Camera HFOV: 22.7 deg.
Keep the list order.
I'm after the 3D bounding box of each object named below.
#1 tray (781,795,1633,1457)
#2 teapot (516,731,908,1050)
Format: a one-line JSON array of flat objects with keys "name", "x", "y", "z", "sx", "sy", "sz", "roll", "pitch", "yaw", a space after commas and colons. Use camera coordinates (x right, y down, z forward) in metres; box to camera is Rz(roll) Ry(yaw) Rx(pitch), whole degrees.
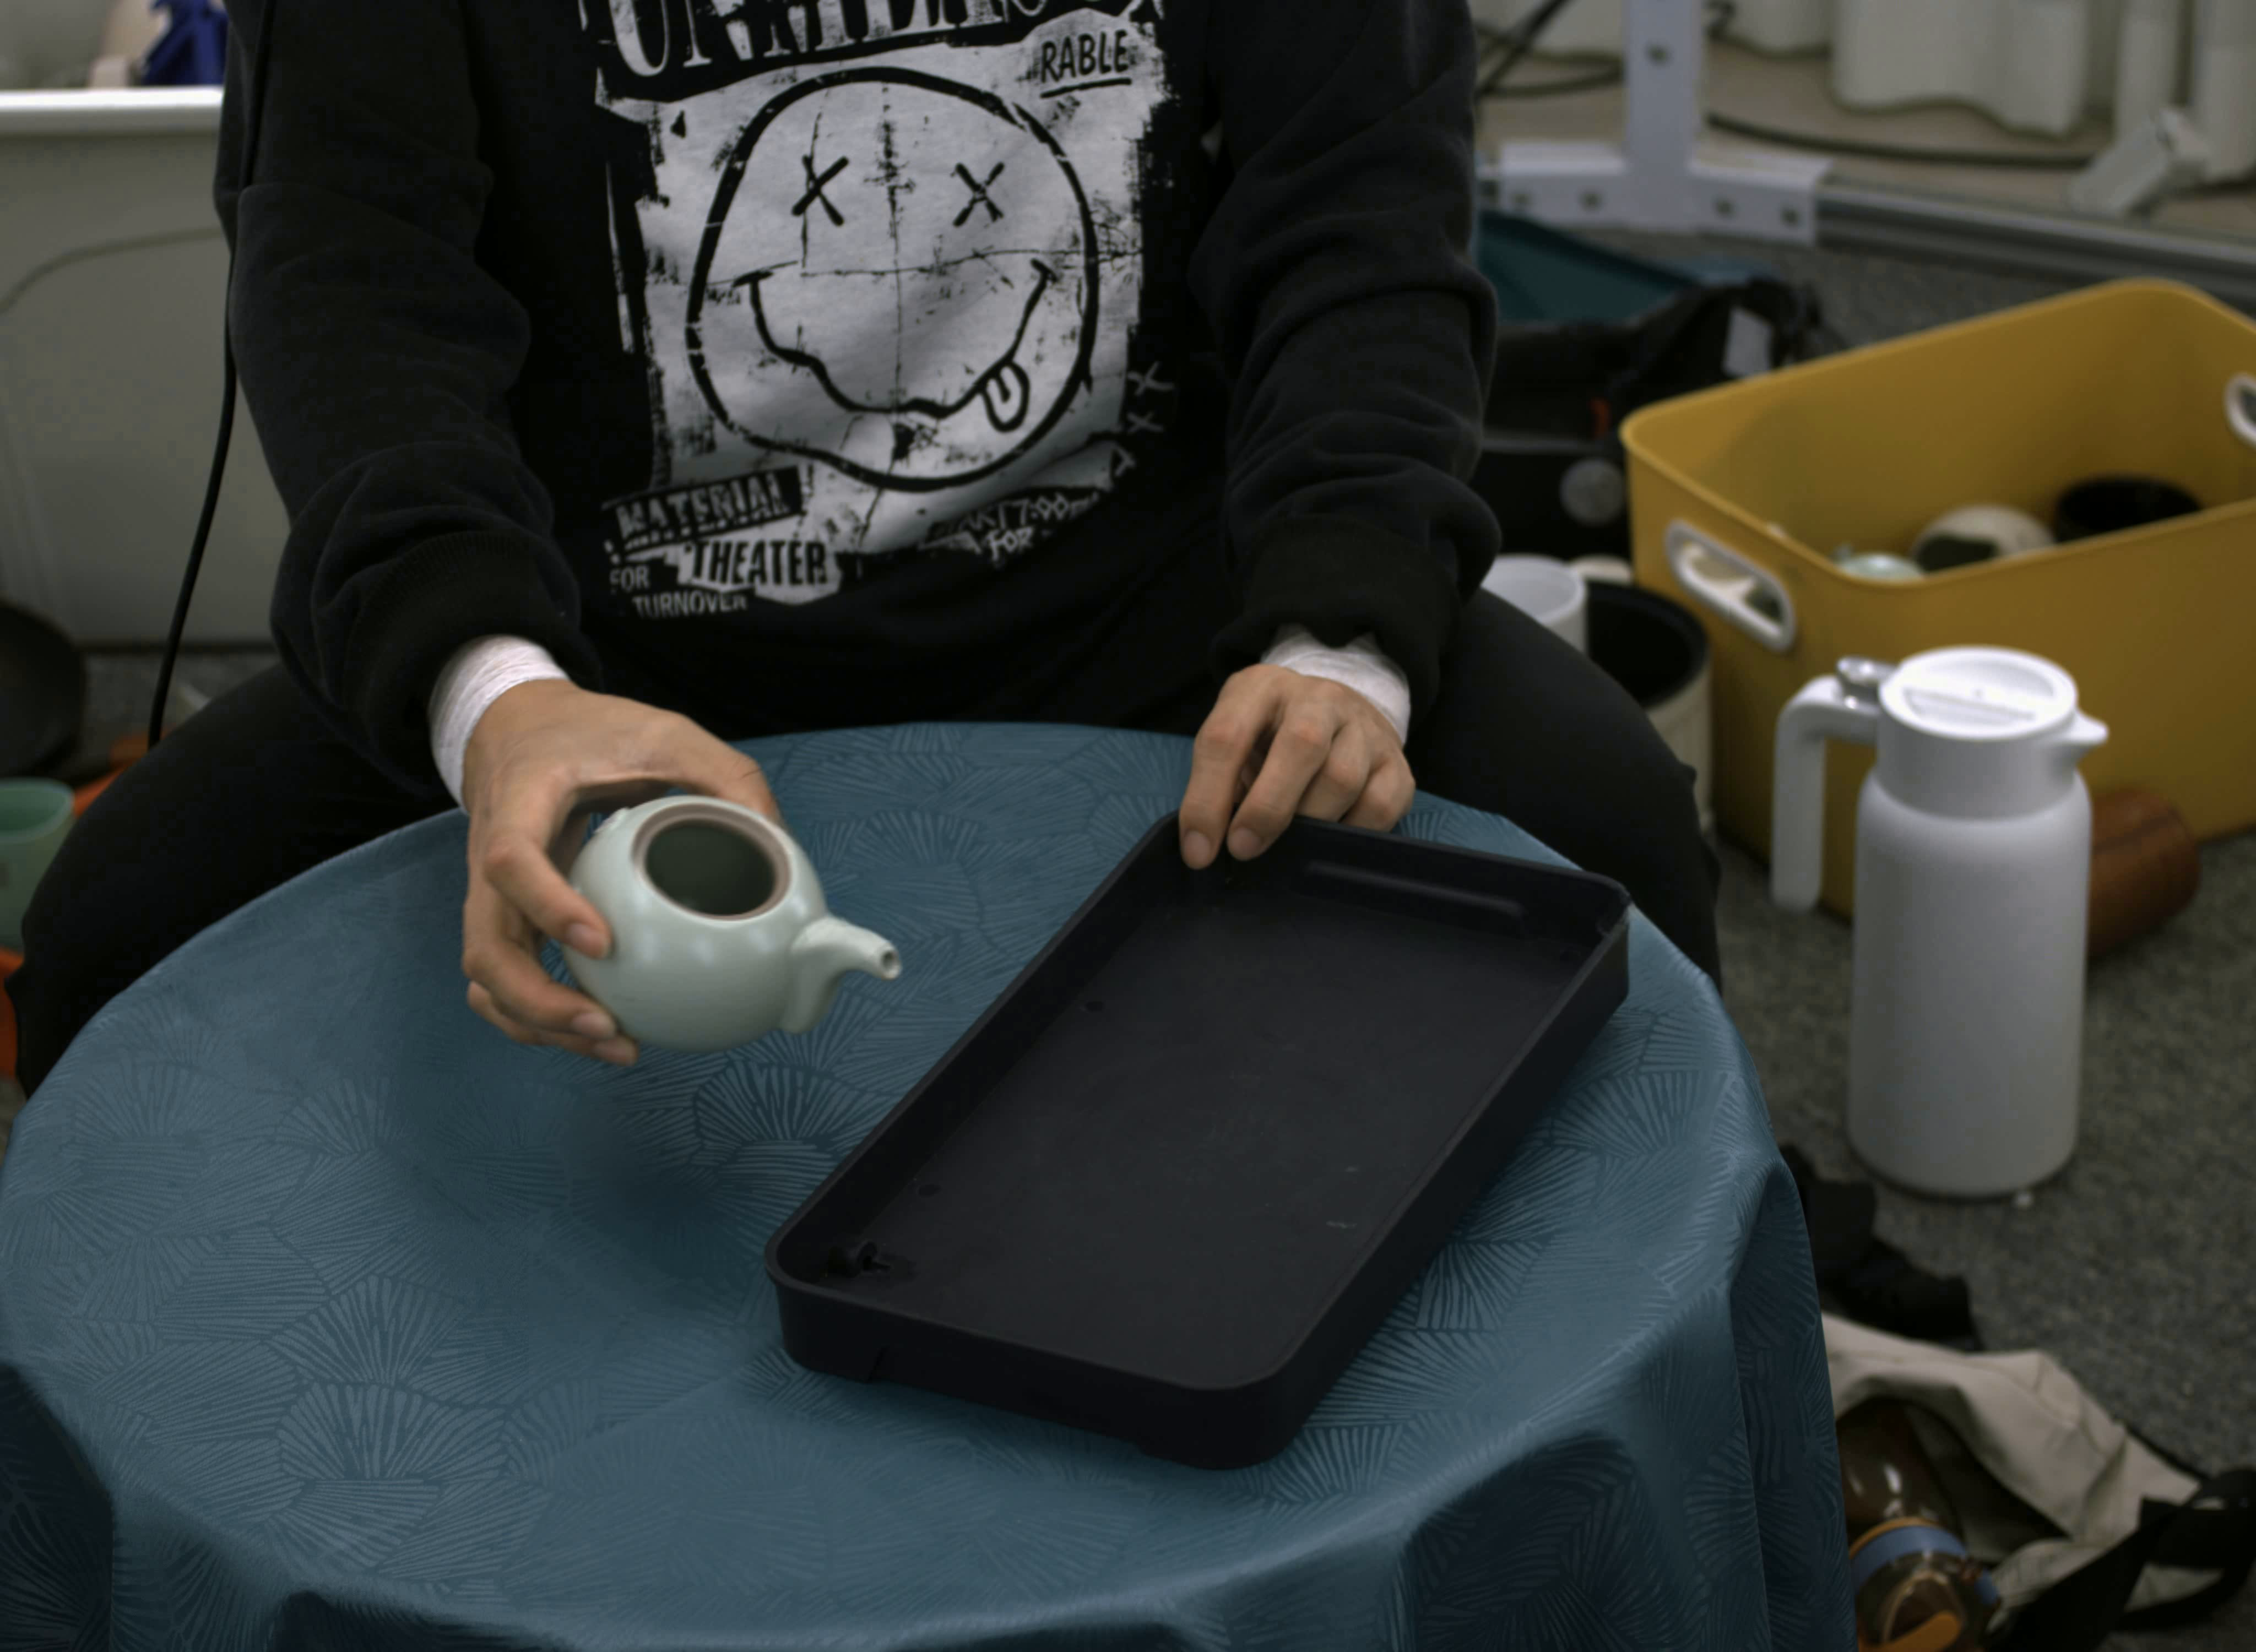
[{"name": "tray", "x": 0.033, "y": 0.091, "z": 1.857, "sx": 0.183, "sy": 0.036, "sz": 0.323, "roll": 10, "pitch": 33, "yaw": 23}, {"name": "teapot", "x": -0.141, "y": 0.030, "z": 1.839, "sx": 0.144, "sy": 0.073, "sz": 0.090, "roll": 34, "pitch": 41, "yaw": 9}]
